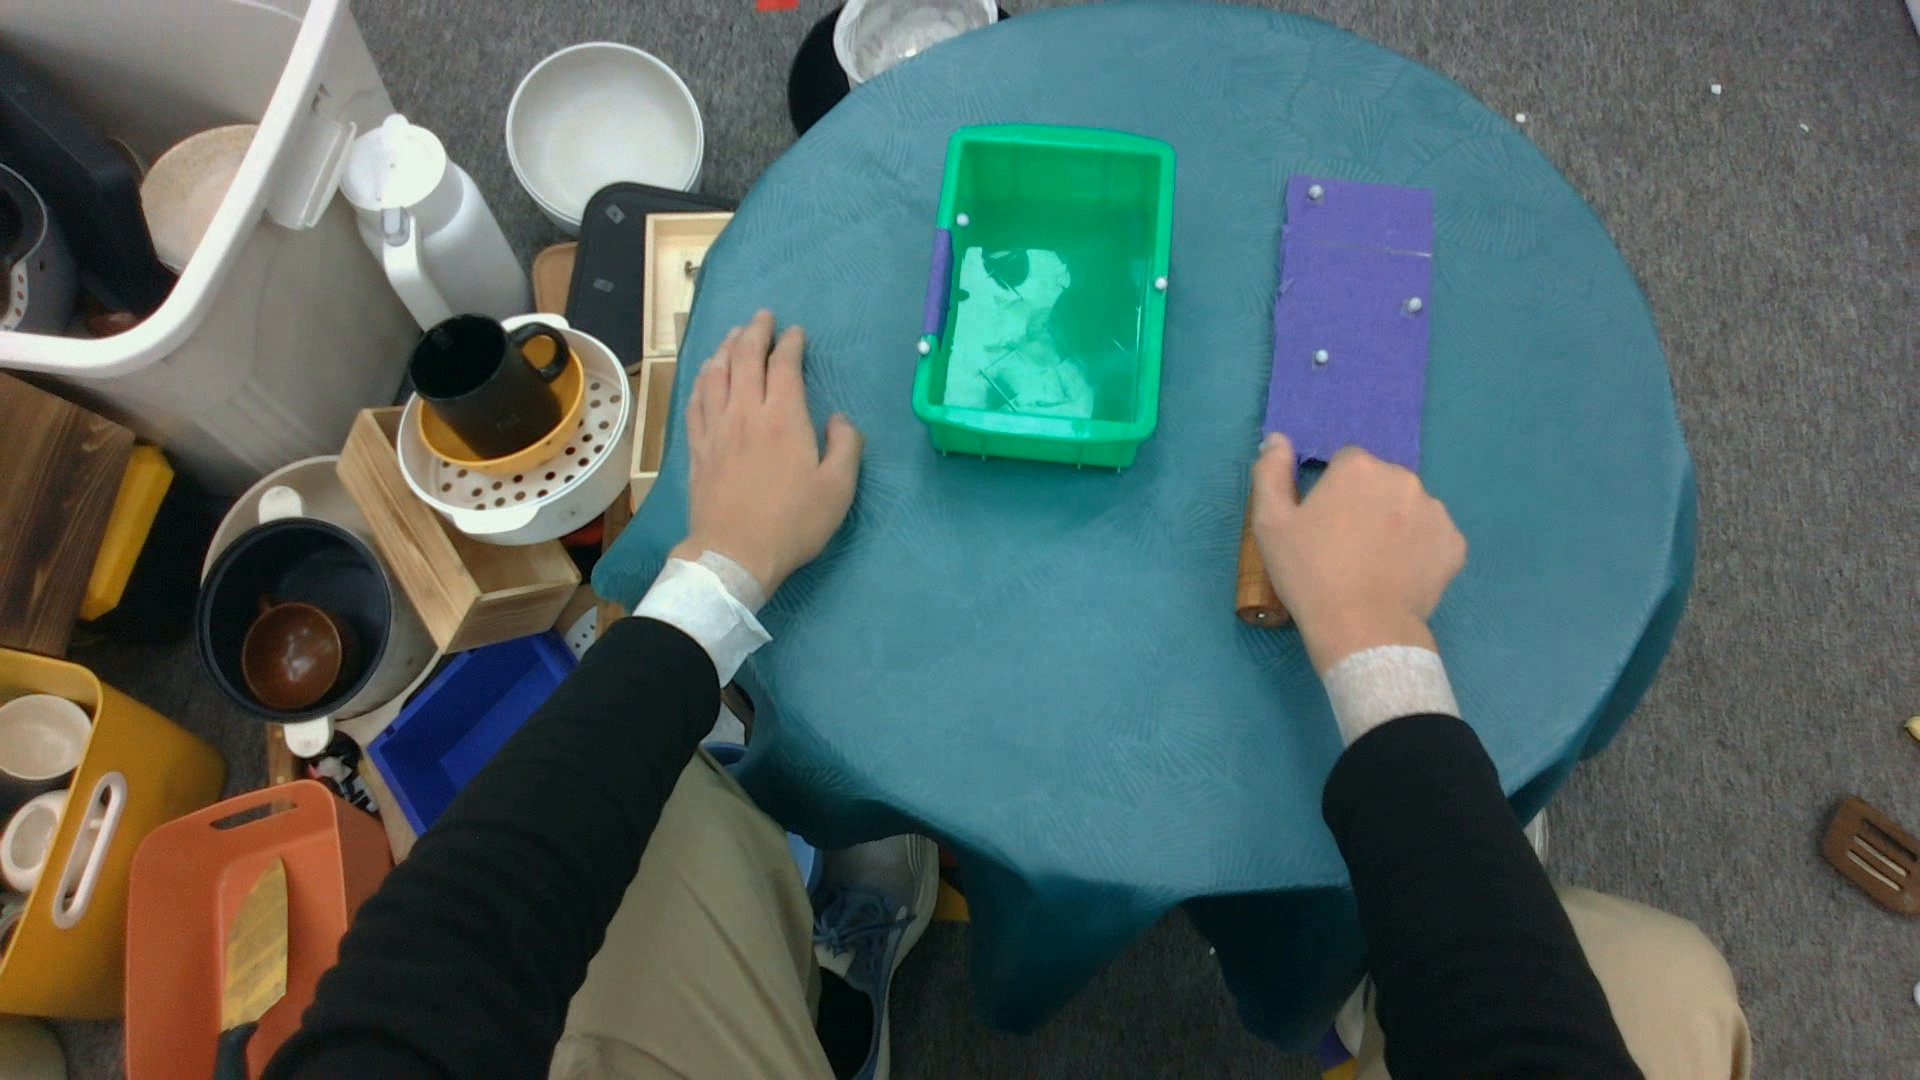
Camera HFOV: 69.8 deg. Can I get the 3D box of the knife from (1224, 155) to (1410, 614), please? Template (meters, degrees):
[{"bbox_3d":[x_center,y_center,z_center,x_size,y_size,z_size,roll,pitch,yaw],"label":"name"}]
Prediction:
[{"bbox_3d":[0.213,-0.102,0.820,0.104,0.032,0.316,8,67,4],"label":"knife"}]

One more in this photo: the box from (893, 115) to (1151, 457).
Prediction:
[{"bbox_3d":[0.039,-0.148,0.821,0.138,0.065,0.211,4,69,4],"label":"box"}]
